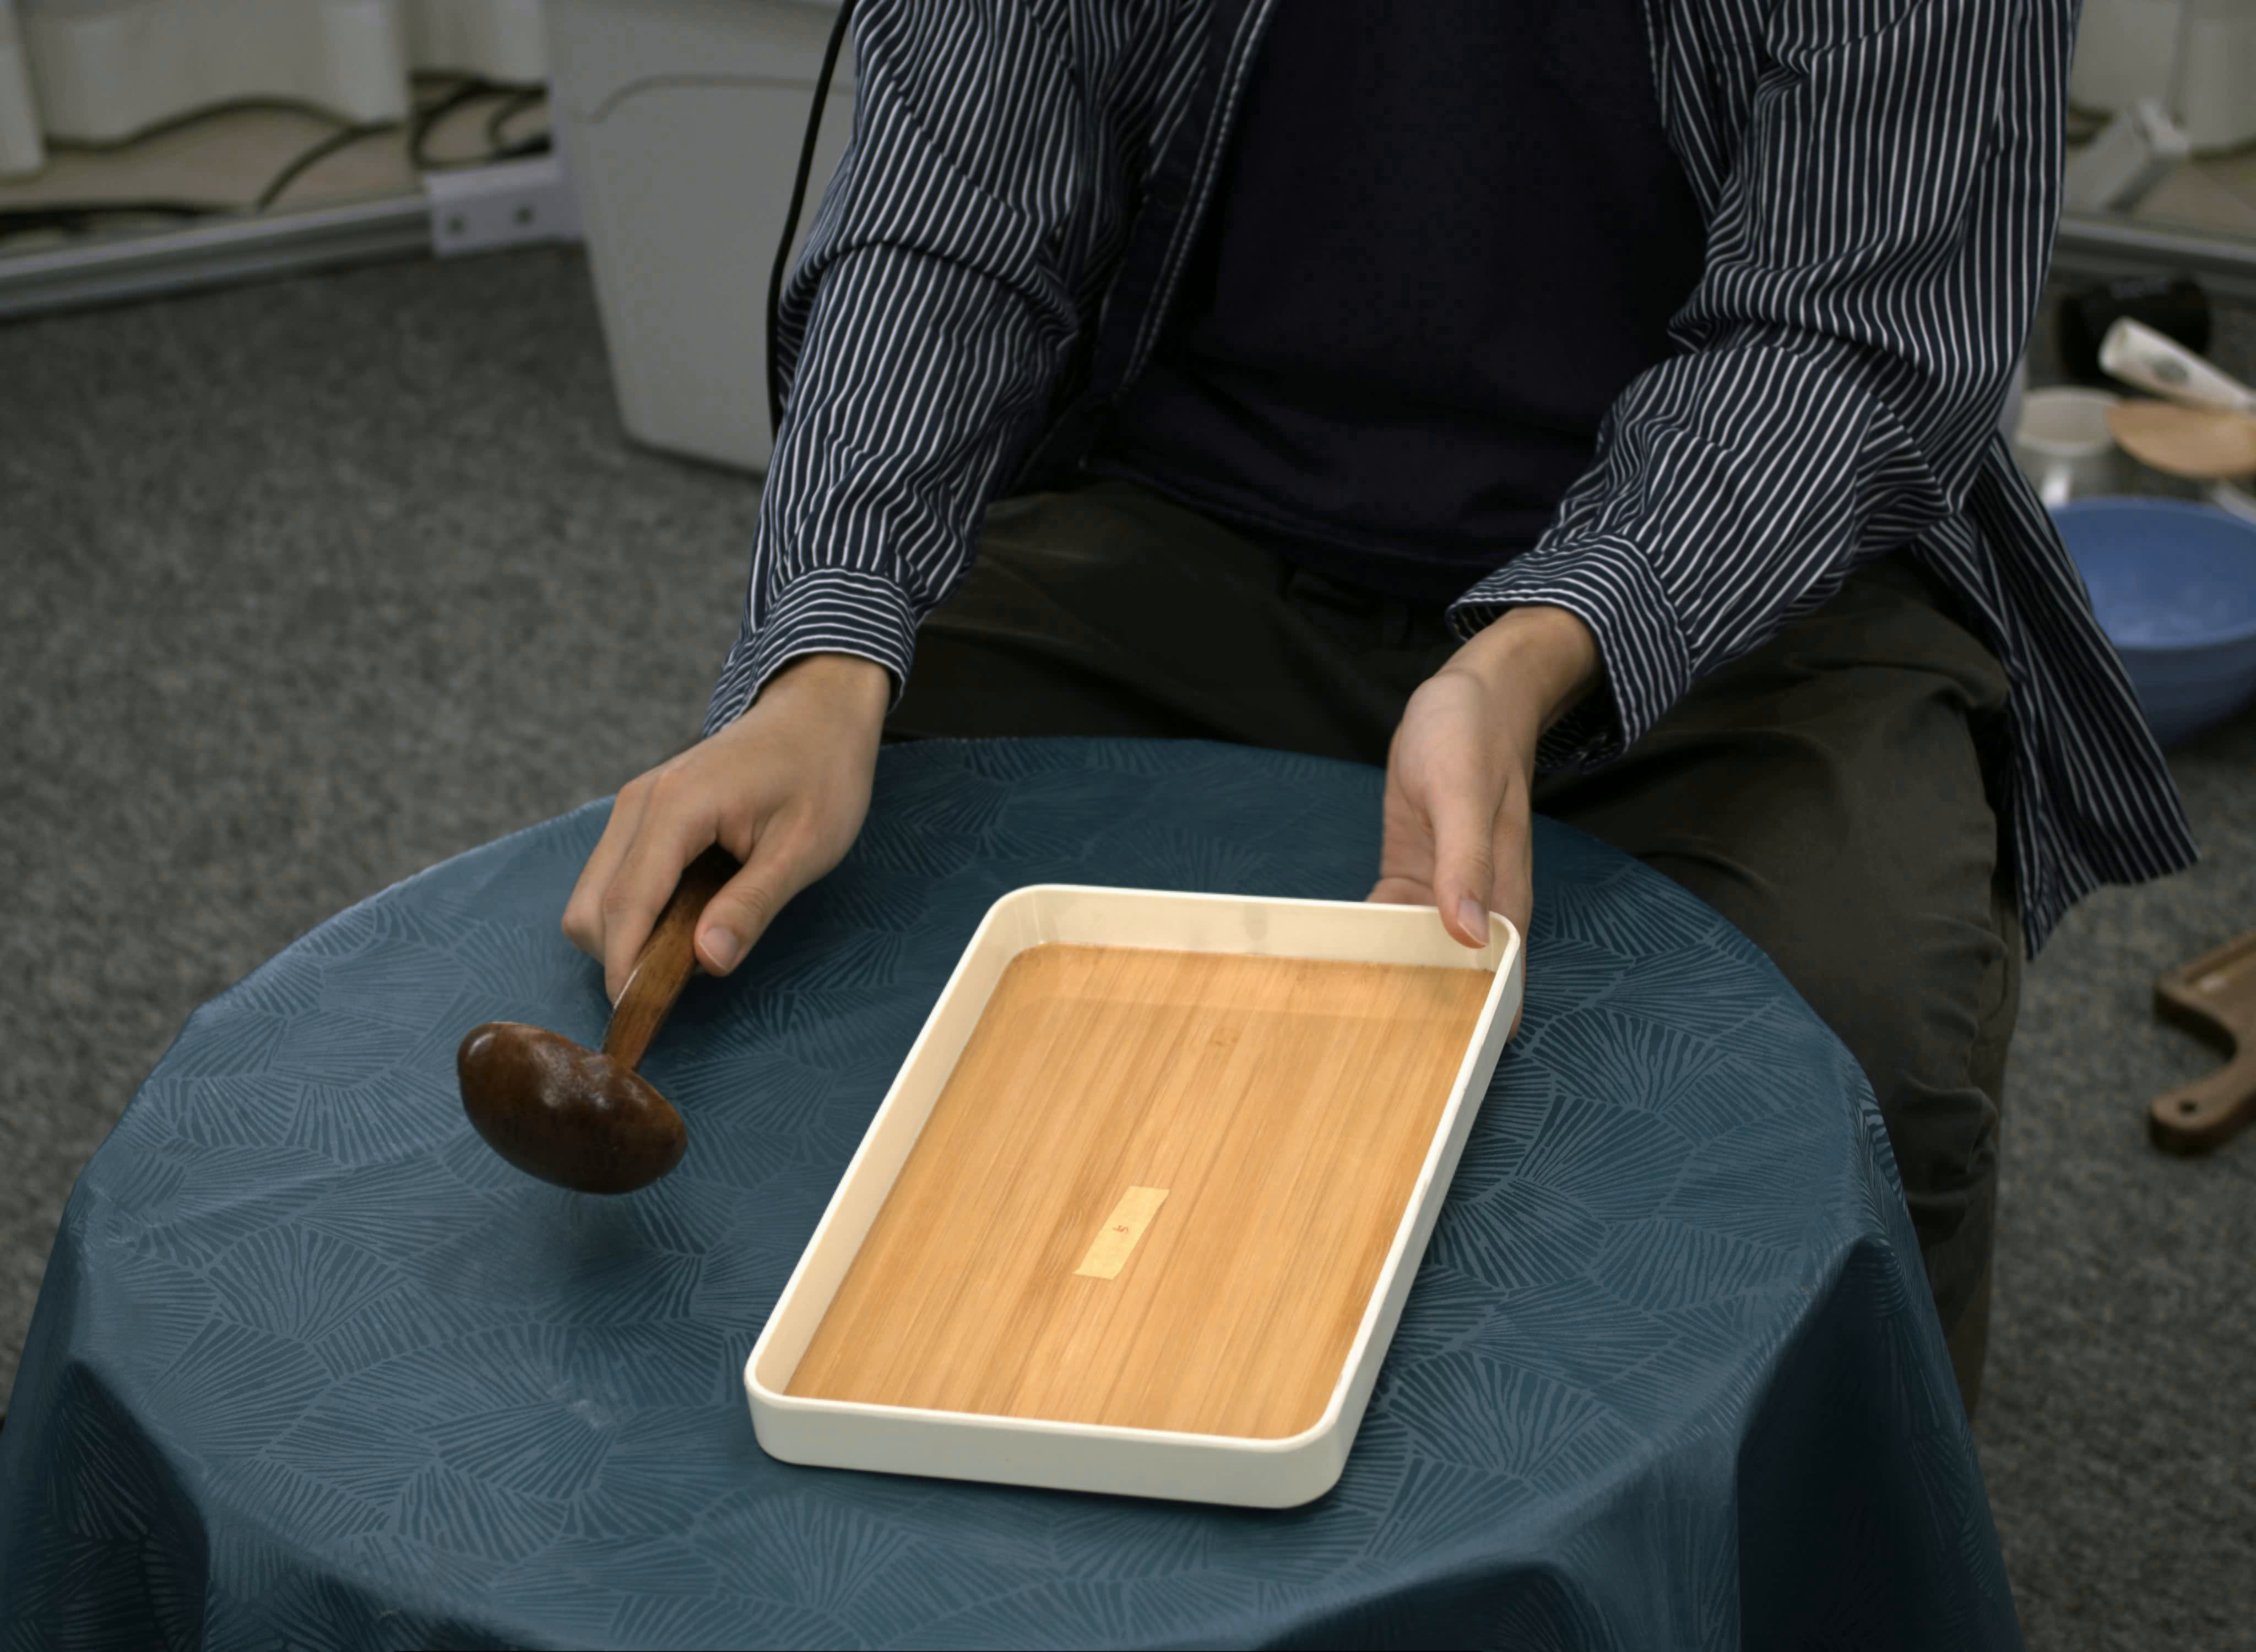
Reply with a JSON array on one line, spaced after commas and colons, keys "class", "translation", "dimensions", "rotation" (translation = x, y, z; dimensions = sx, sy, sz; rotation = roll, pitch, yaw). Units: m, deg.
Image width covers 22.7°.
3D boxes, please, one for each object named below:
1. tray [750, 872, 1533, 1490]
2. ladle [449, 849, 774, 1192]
[{"class": "tray", "translation": [0.011, 0.109, 1.825], "dimensions": [0.190, 0.027, 0.306], "rotation": [4, 32, 16]}, {"class": "ladle", "translation": [-0.159, 0.046, 1.910], "dimensions": [0.082, 0.075, 0.278], "rotation": [31, 28, -1]}]
